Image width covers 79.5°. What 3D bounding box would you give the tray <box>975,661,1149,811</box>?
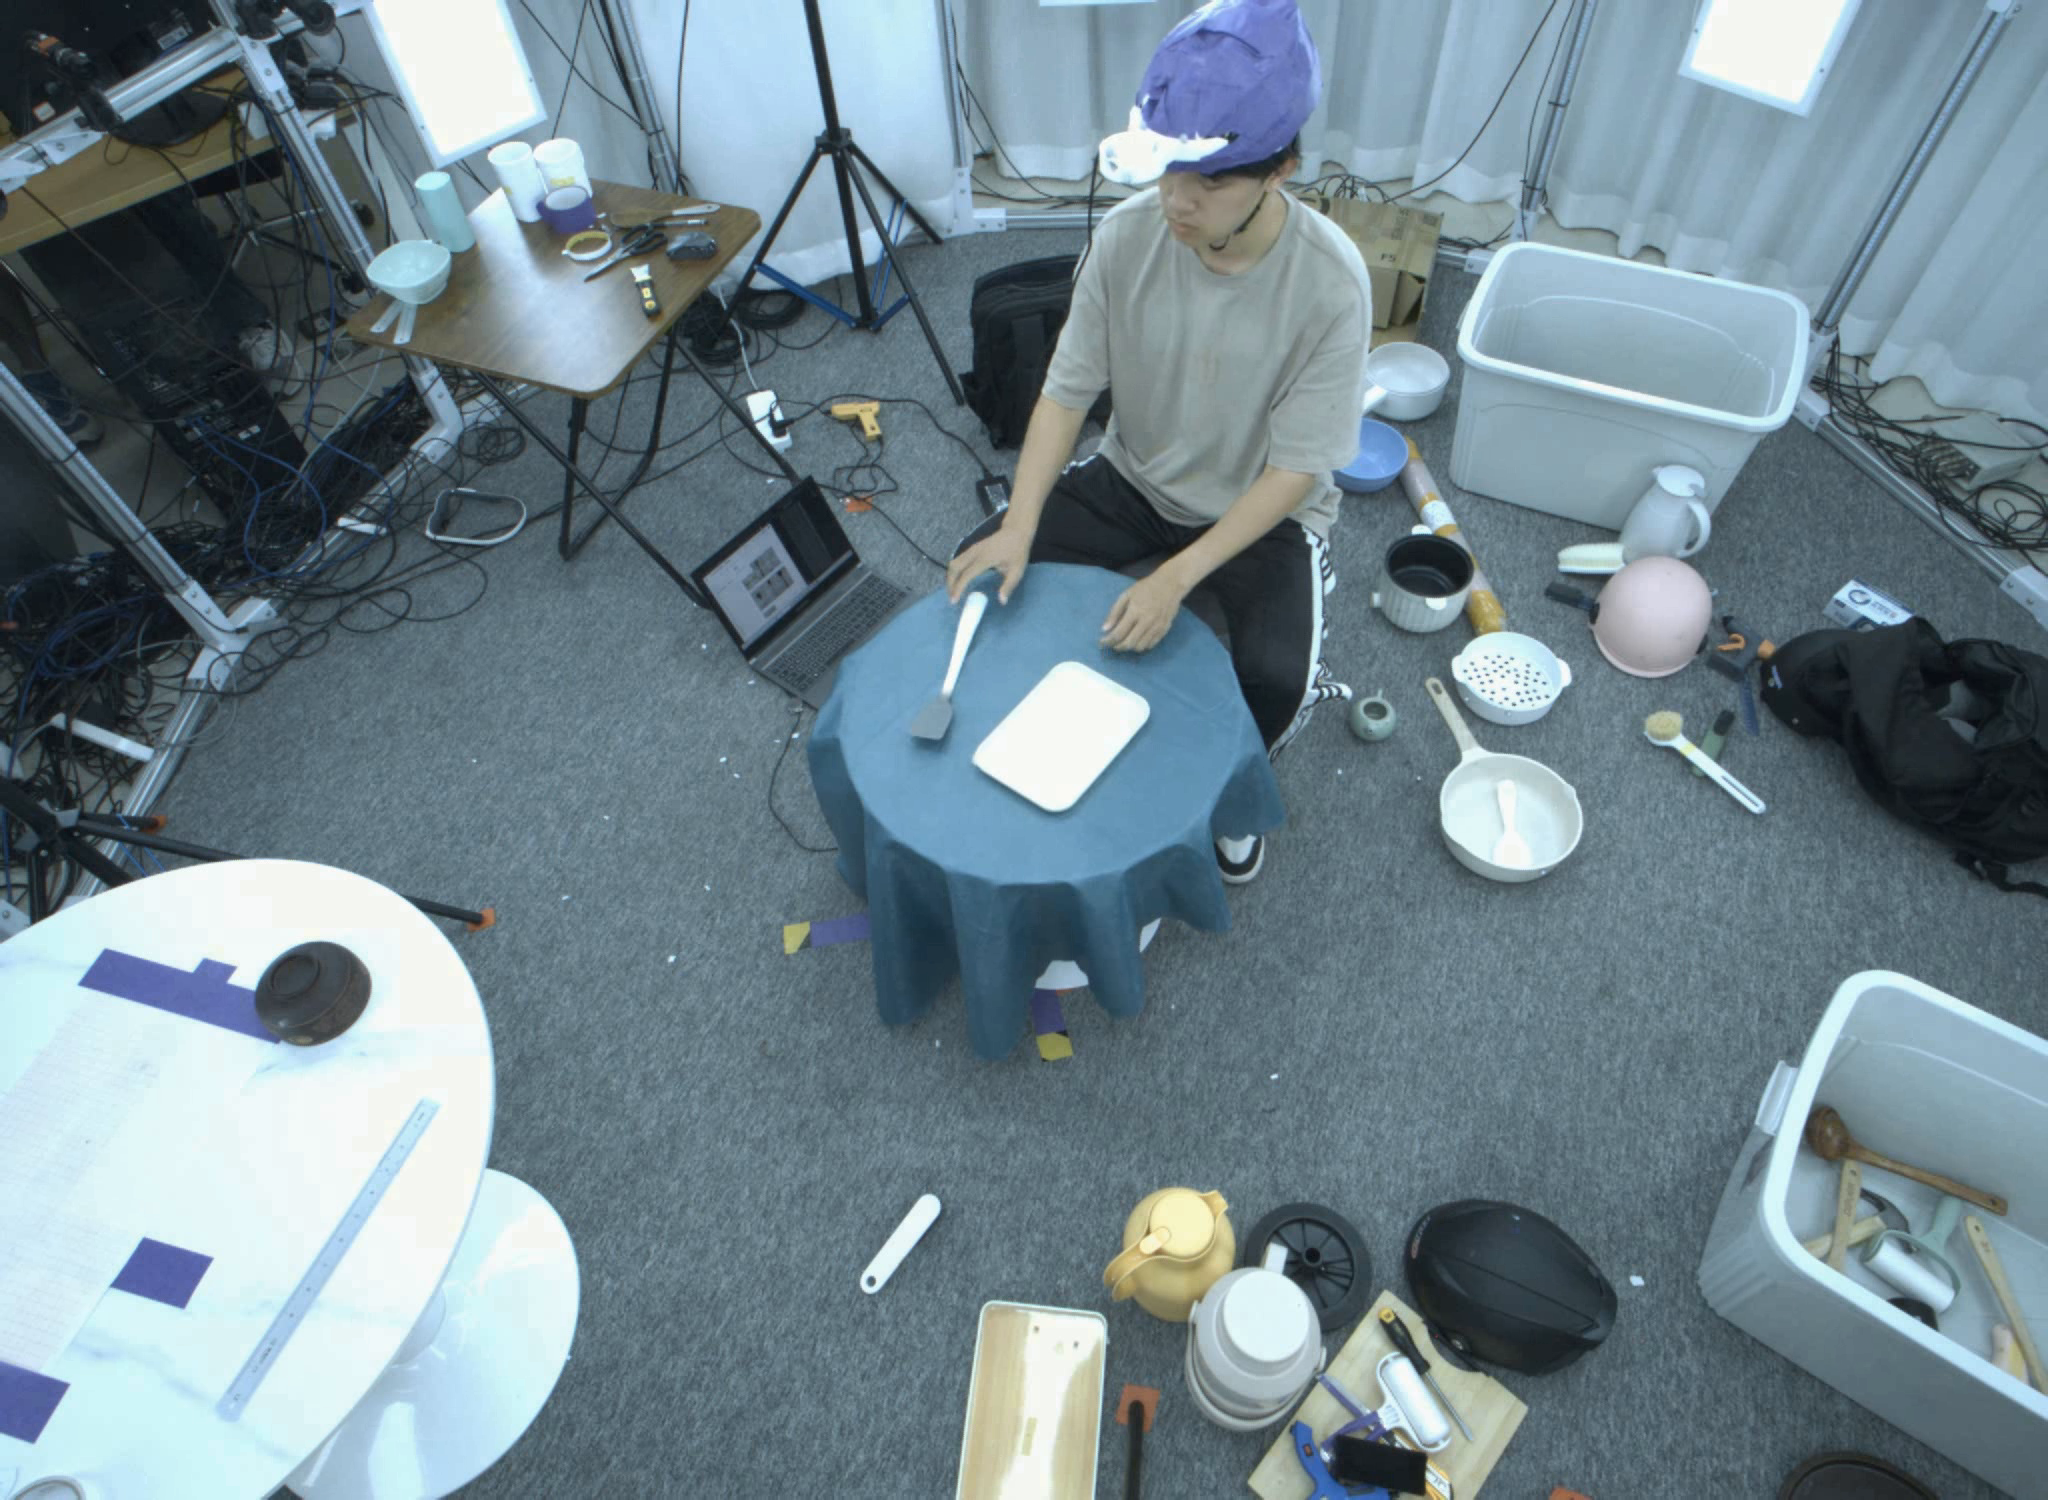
[{"bbox_3d":[0.056,-0.022,1.788,0.168,0.017,0.241,32,62,21],"label":"tray"}]

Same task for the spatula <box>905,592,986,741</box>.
[{"bbox_3d":[-0.111,-0.124,1.856,0.058,0.032,0.286,13,57,7],"label":"spatula"}]
